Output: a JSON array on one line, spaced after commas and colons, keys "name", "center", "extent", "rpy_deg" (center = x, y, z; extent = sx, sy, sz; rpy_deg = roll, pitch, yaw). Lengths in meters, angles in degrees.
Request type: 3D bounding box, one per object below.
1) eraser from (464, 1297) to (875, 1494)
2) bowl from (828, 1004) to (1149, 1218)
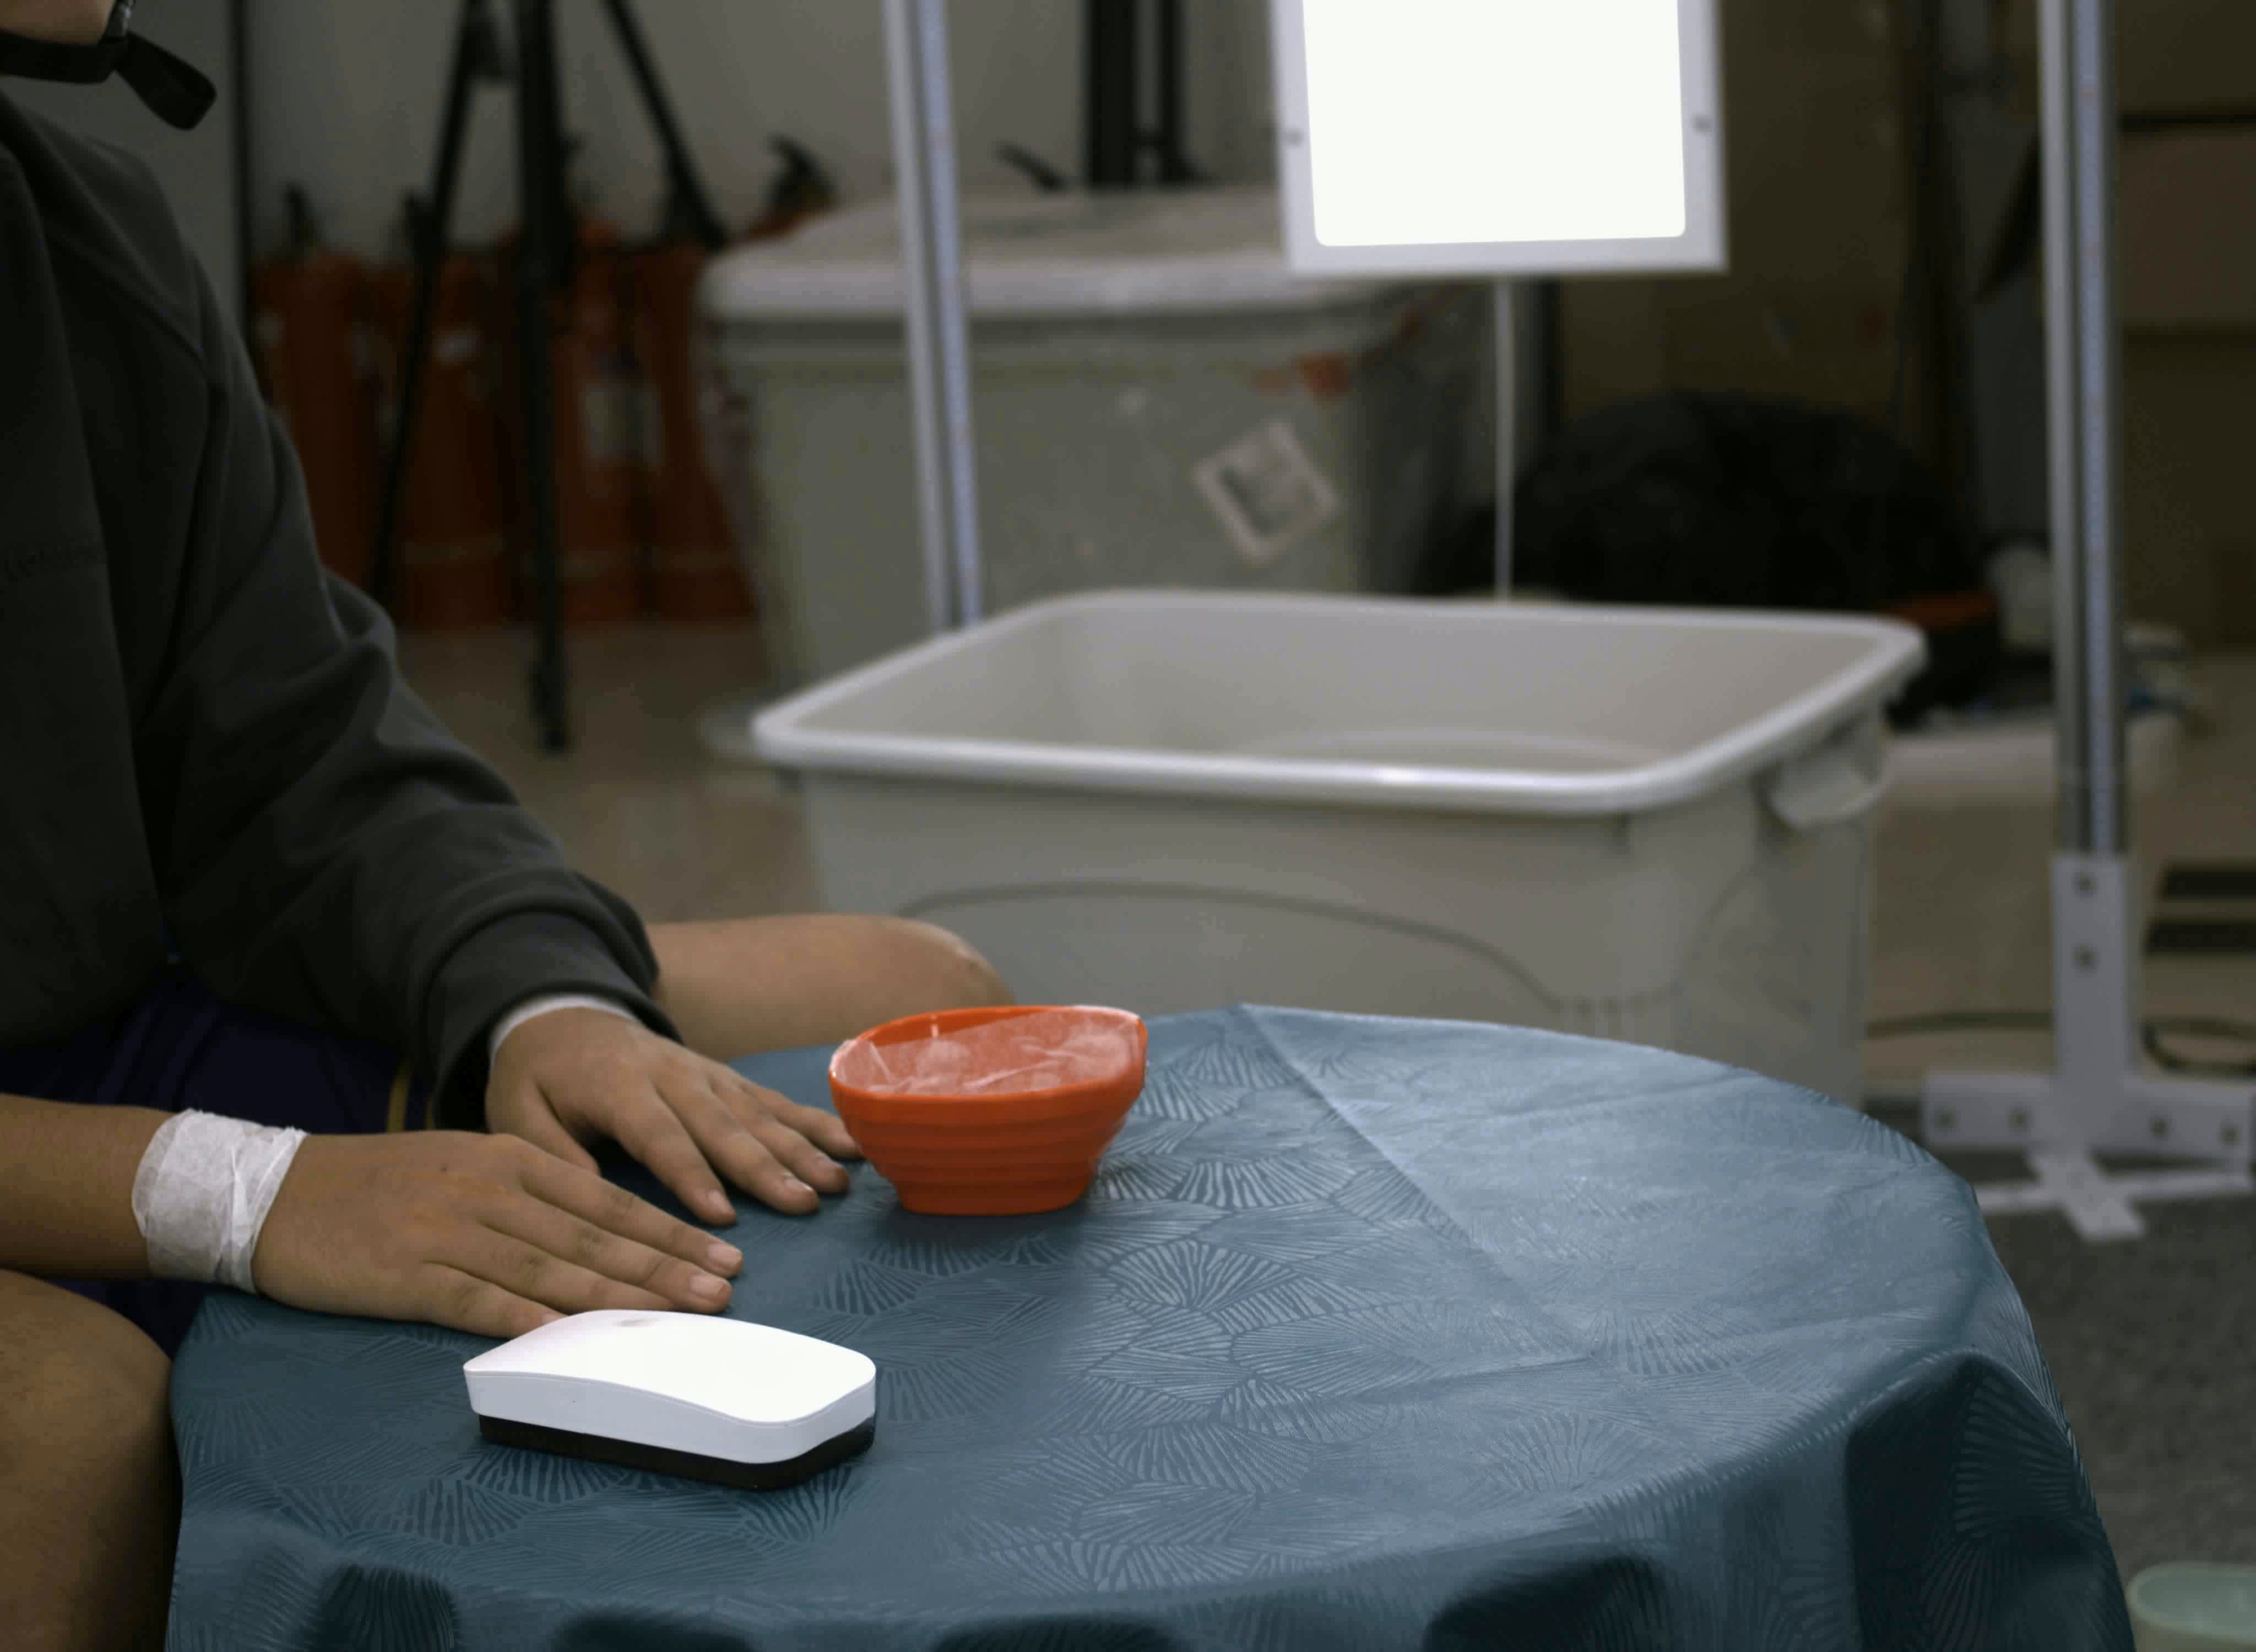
[{"name": "eraser", "center": [-0.140, 0.172, 1.693], "extent": [0.134, 0.034, 0.062], "rpy_deg": [8, 17, 38]}, {"name": "bowl", "center": [-0.046, 0.101, 1.911], "extent": [0.118, 0.051, 0.119], "rpy_deg": [-6, 14, 0]}]
